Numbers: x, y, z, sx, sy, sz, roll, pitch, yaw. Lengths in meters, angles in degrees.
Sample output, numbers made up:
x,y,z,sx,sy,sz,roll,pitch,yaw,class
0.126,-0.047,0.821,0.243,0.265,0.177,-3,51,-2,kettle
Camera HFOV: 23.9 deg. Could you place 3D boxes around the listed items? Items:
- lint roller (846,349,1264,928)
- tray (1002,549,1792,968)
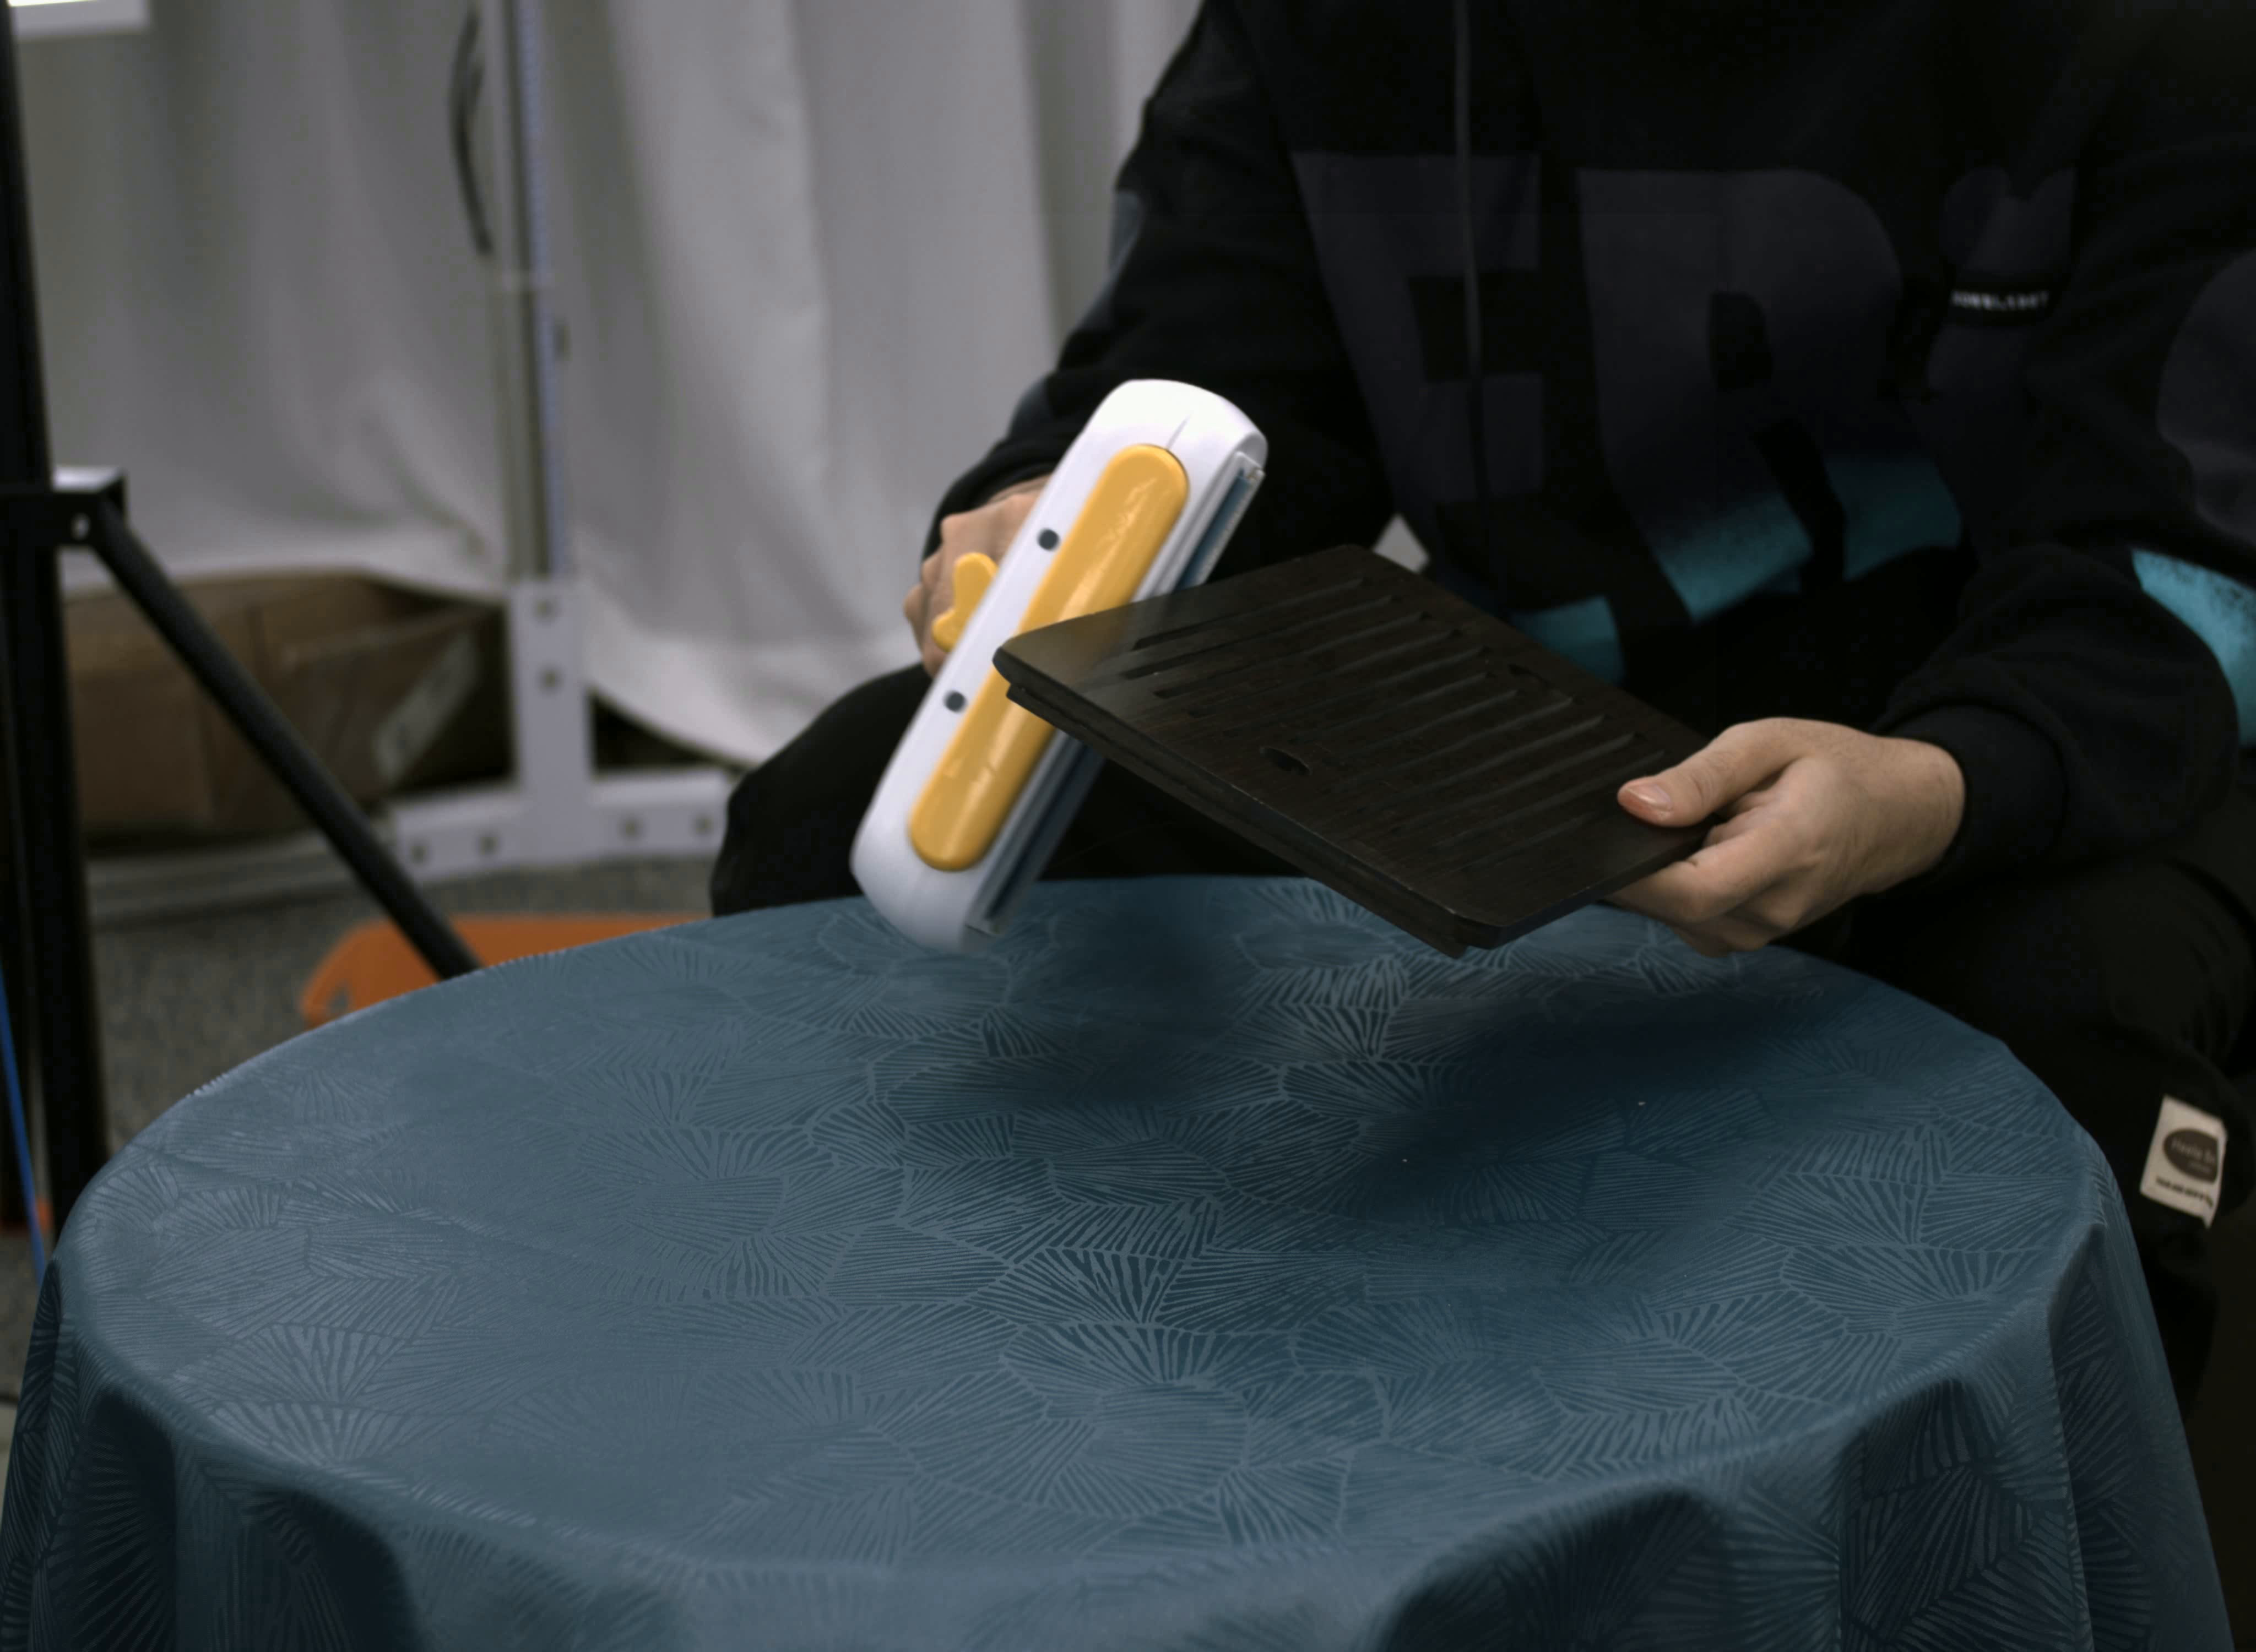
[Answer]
x,y,z,sx,sy,sz,roll,pitch,yaw,class
-0.027,-0.056,1.705,0.074,0.193,0.191,26,-4,4,lint roller
0.087,-0.024,1.609,0.172,0.019,0.301,30,18,17,tray
